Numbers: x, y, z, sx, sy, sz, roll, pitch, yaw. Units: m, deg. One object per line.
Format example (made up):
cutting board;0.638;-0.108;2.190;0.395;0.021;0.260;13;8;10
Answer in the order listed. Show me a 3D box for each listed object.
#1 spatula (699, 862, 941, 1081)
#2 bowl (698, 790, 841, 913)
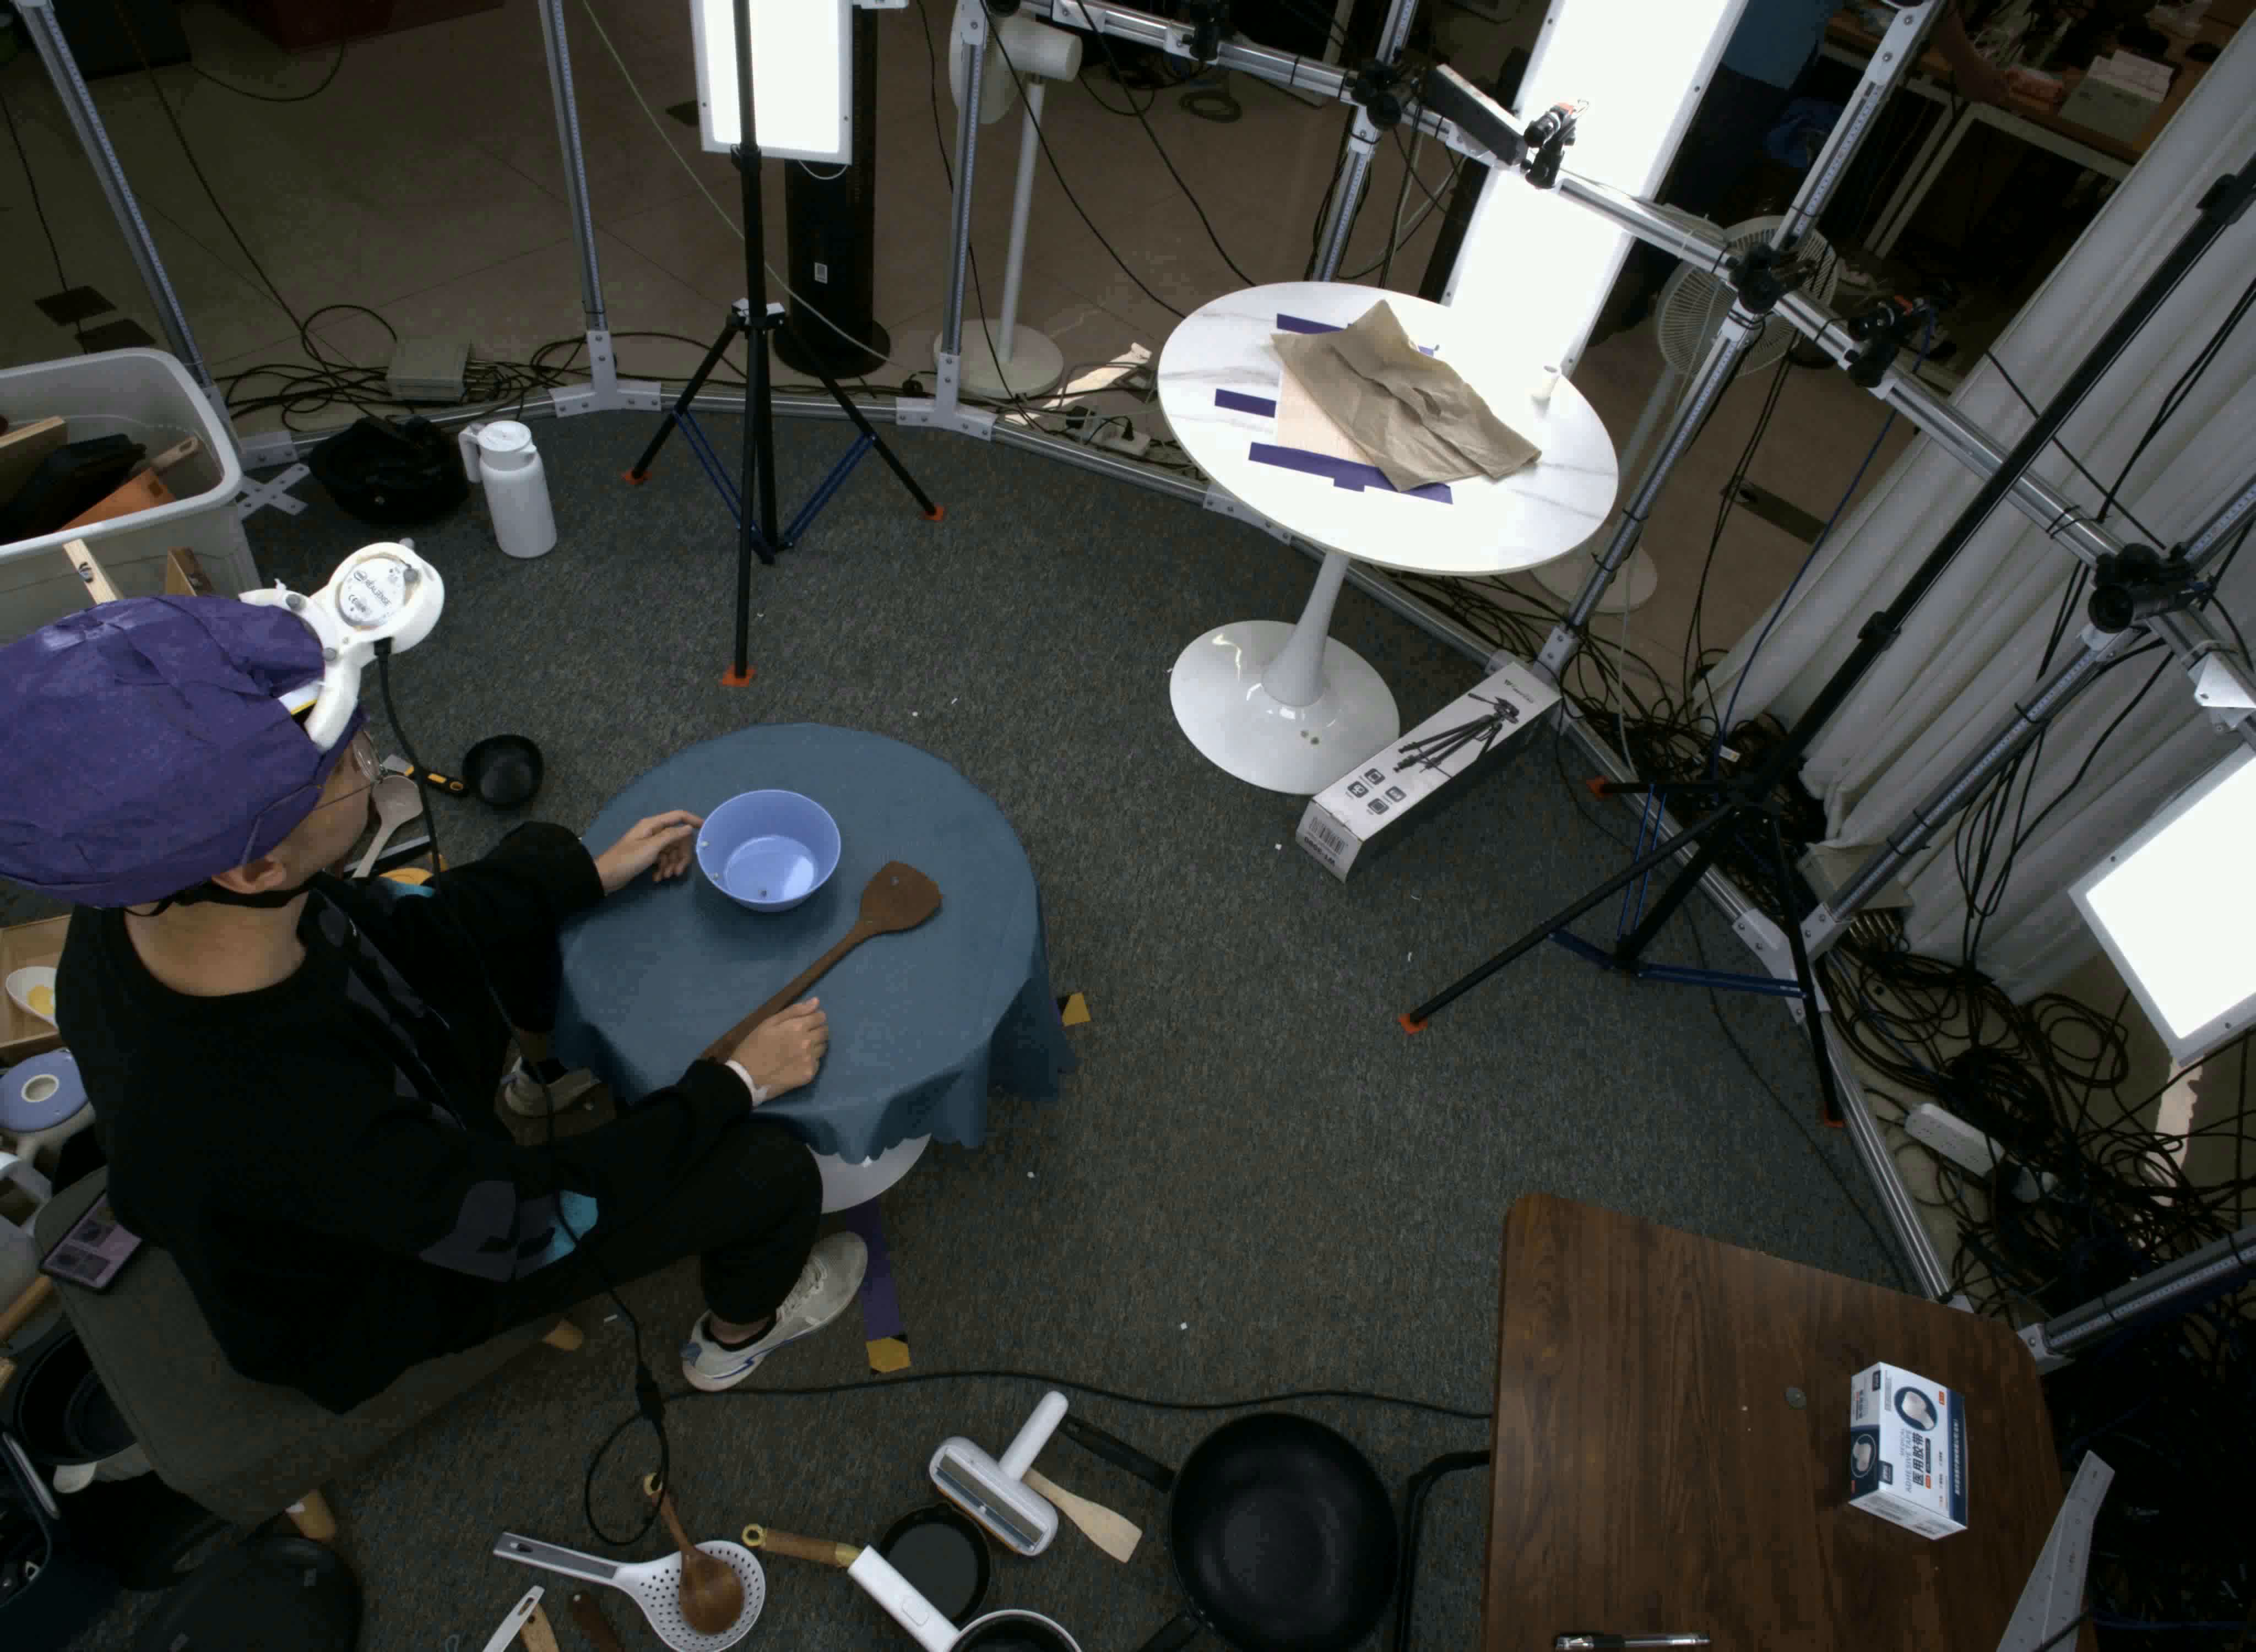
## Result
spatula;-0.382;0.176;1.600;0.094;0.016;0.386;36;54;13
bowl;-0.453;0.042;1.646;0.175;0.072;0.173;7;53;-7
